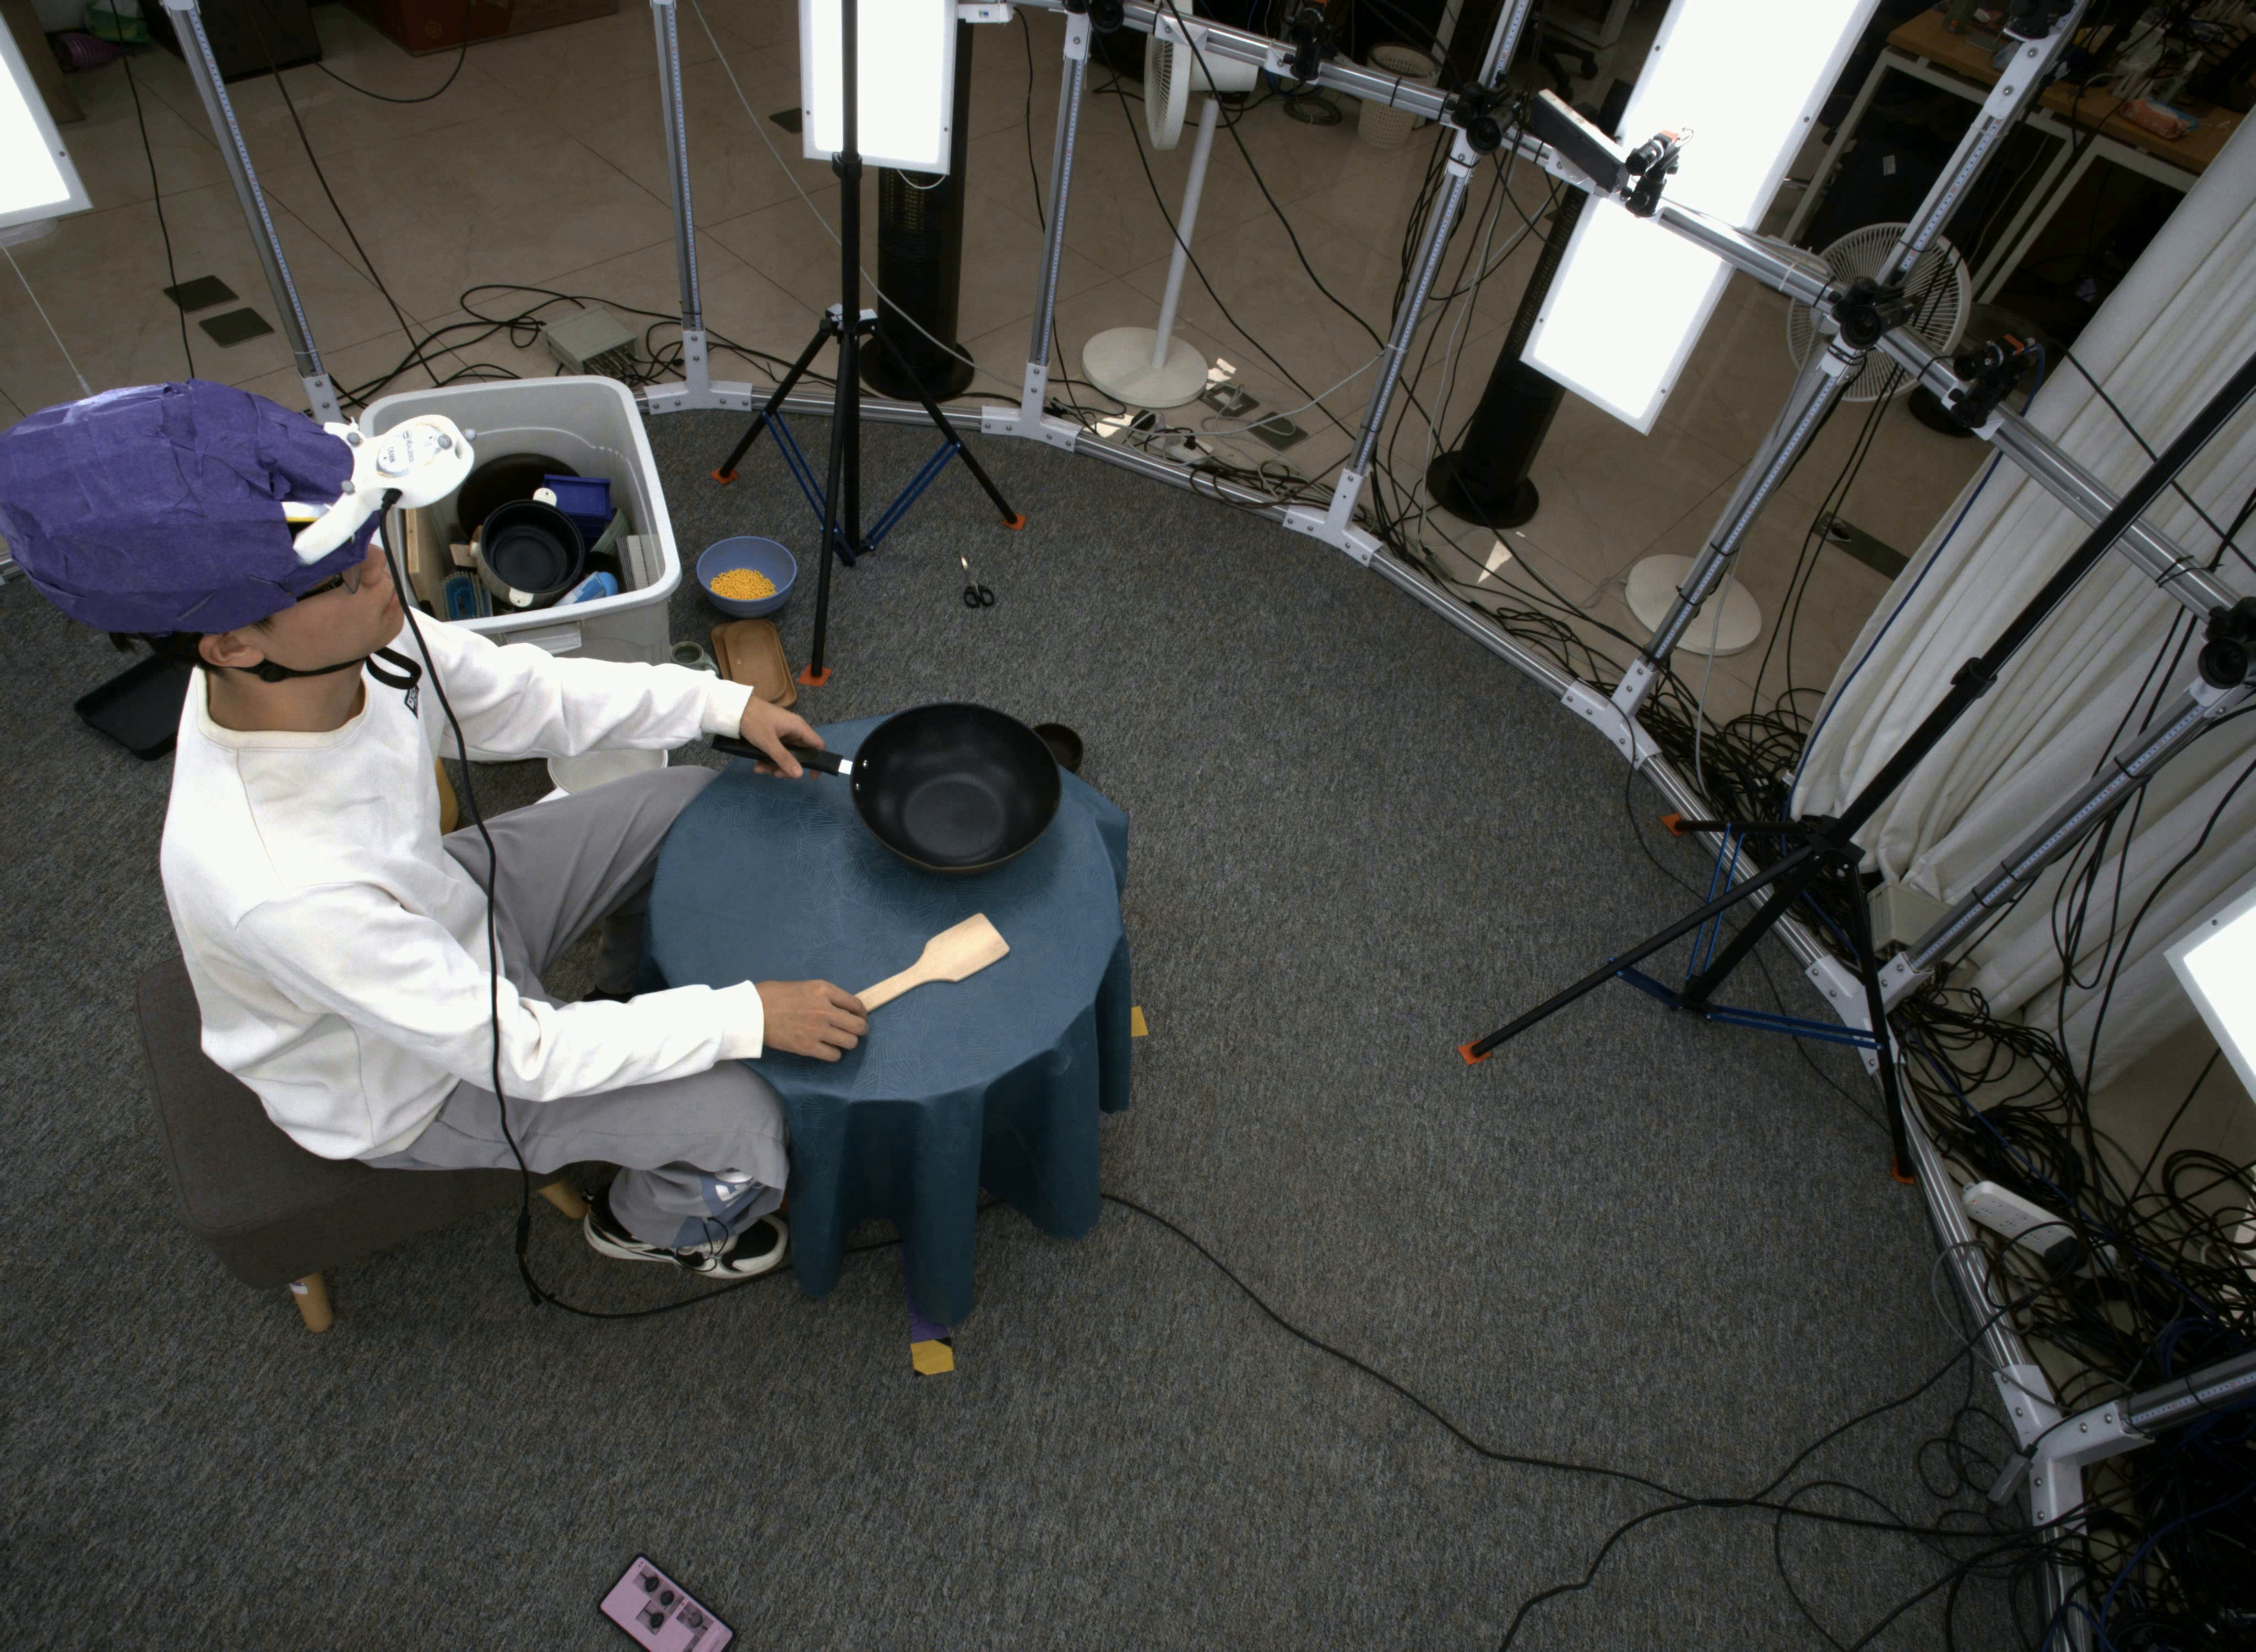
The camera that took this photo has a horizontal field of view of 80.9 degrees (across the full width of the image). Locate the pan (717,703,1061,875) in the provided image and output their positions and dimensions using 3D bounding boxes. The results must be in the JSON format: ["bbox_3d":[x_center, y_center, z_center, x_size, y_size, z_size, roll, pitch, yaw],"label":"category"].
[{"bbox_3d":[-0.320,-0.052,1.746,0.460,0.089,0.283,10,52,-5],"label":"pan"}]

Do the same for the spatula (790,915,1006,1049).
[{"bbox_3d":[-0.287,0.197,1.616,0.294,0.011,0.070,-28,65,-29],"label":"spatula"}]
